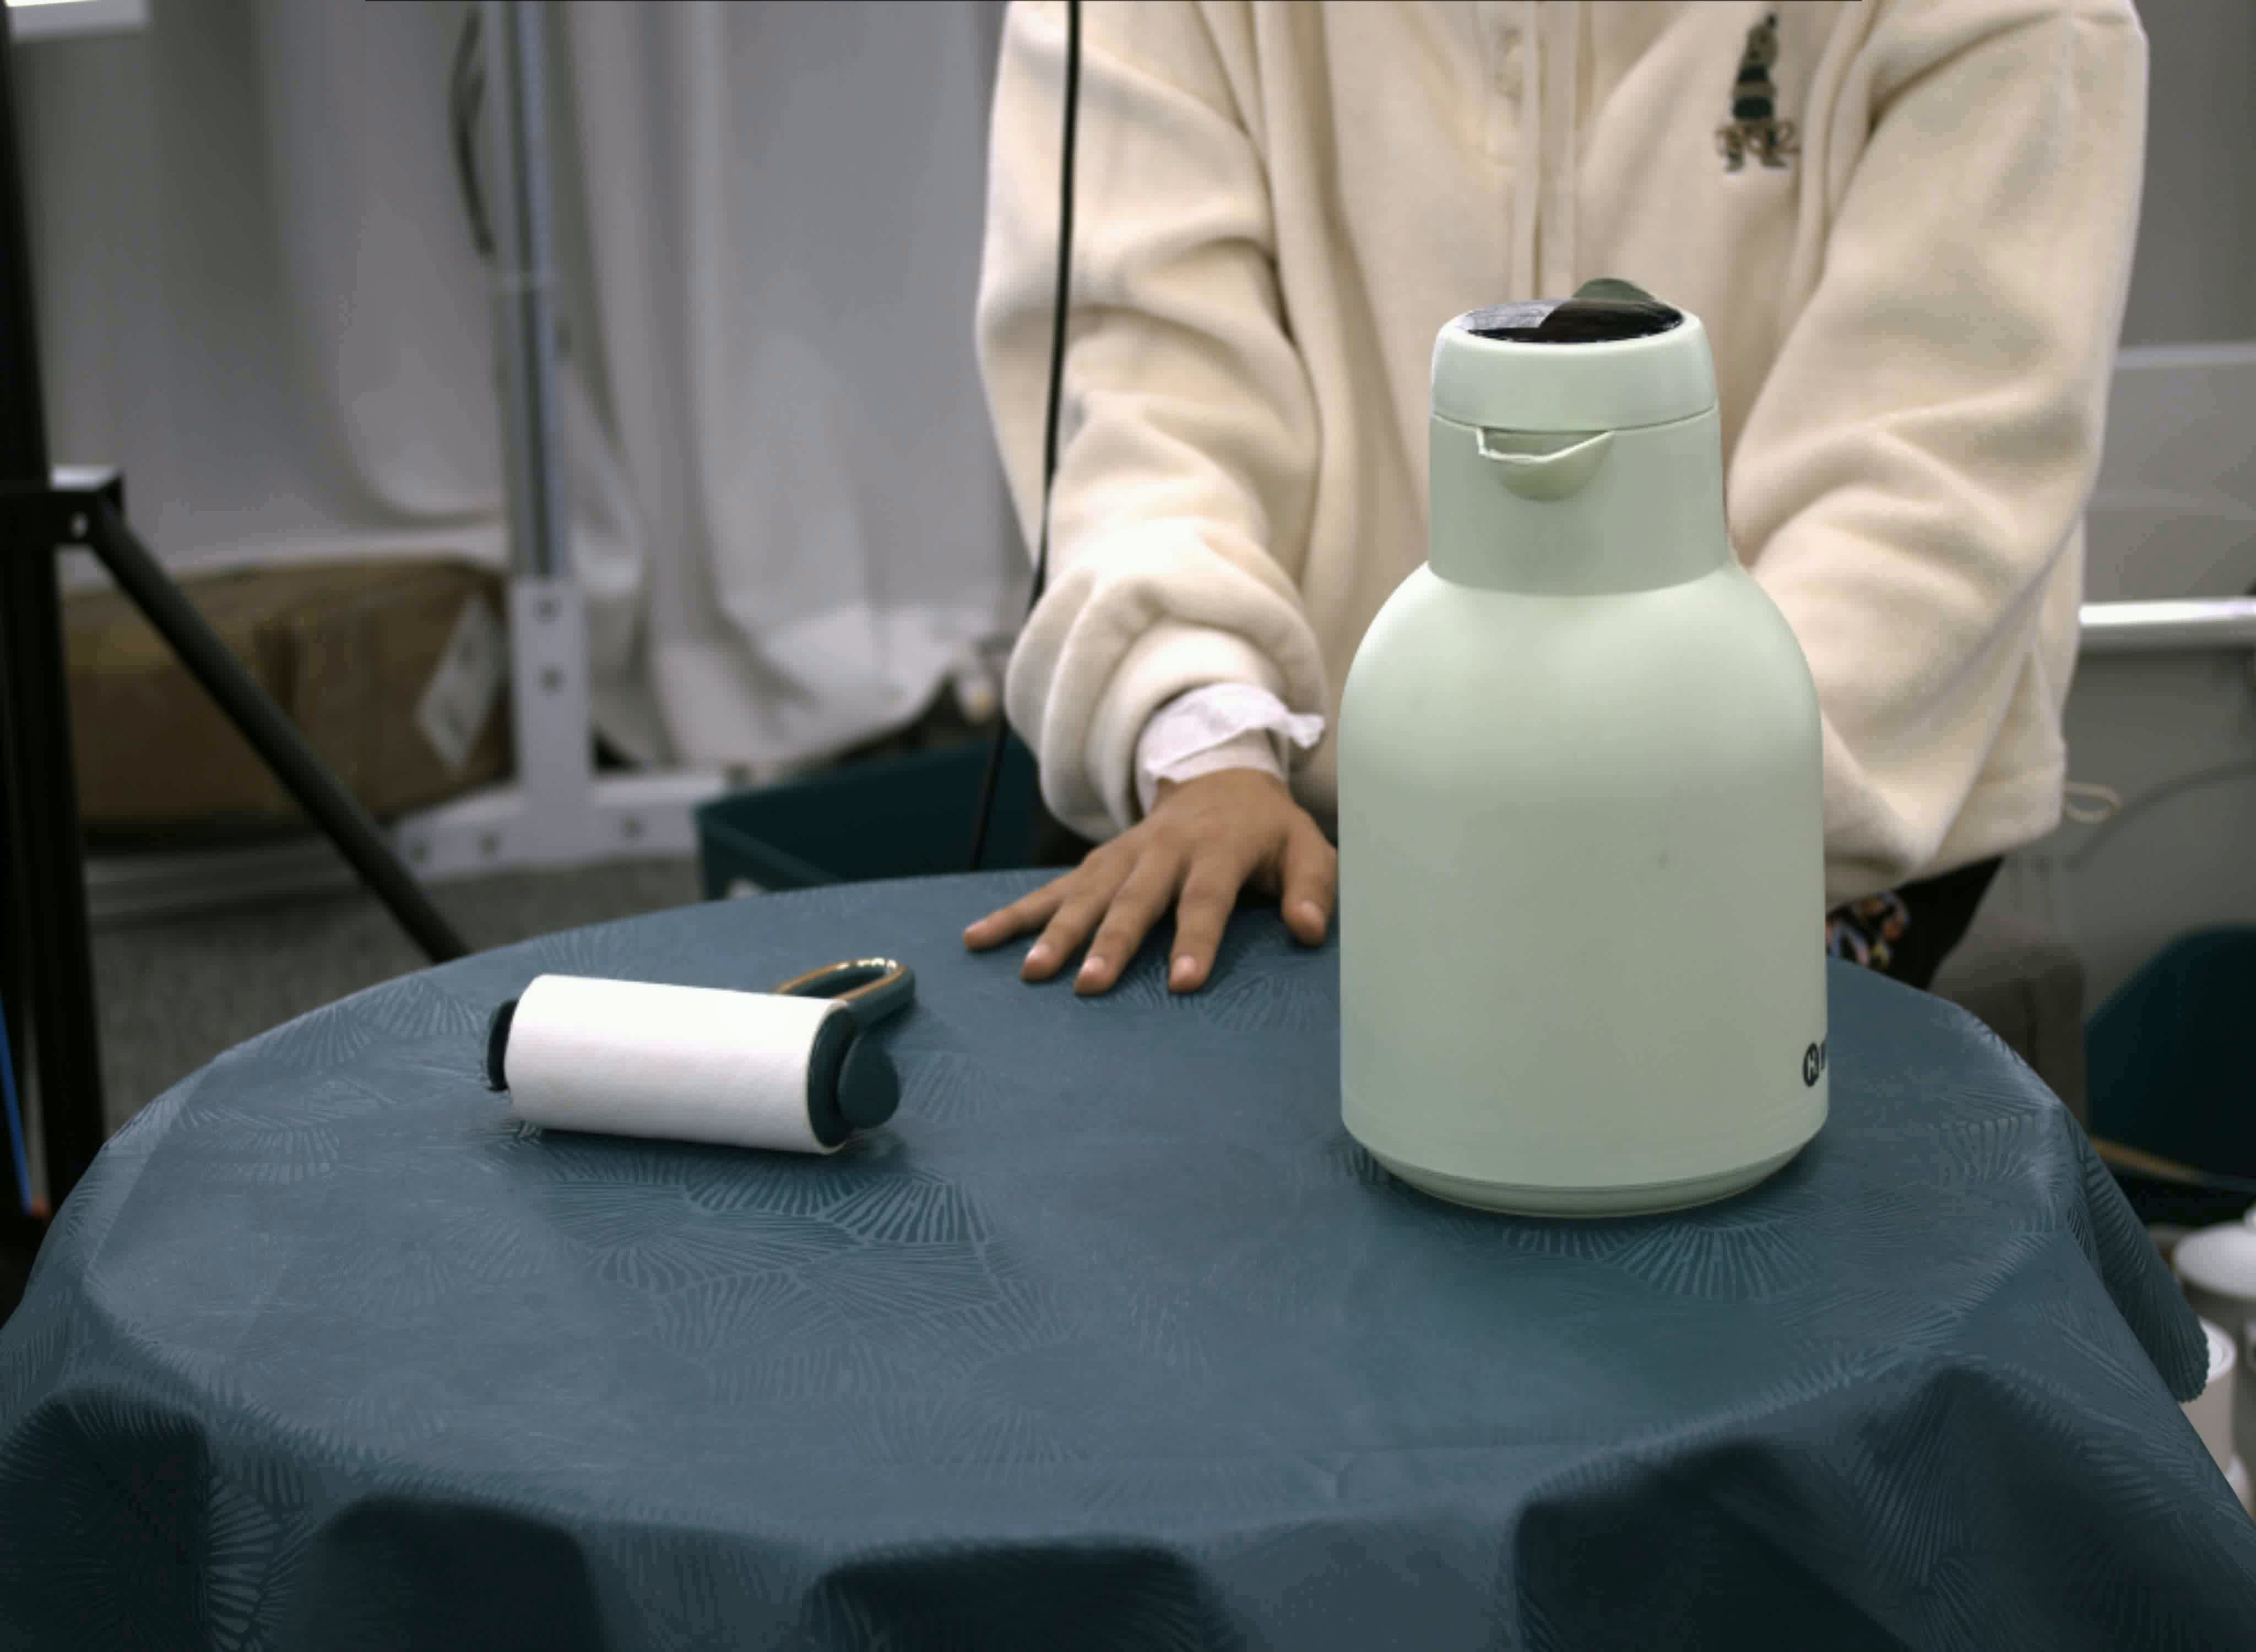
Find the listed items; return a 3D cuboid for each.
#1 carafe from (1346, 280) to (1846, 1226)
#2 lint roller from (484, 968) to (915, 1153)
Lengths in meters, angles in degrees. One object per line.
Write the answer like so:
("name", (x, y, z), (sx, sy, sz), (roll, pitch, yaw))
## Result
("carafe", (0.138, -0.025, 1.551), (0.146, 0.257, 0.184), (1, 11, 19))
("lint roller", (-0.110, 0.054, 1.678), (0.136, 0.048, 0.178), (5, 17, 22))
